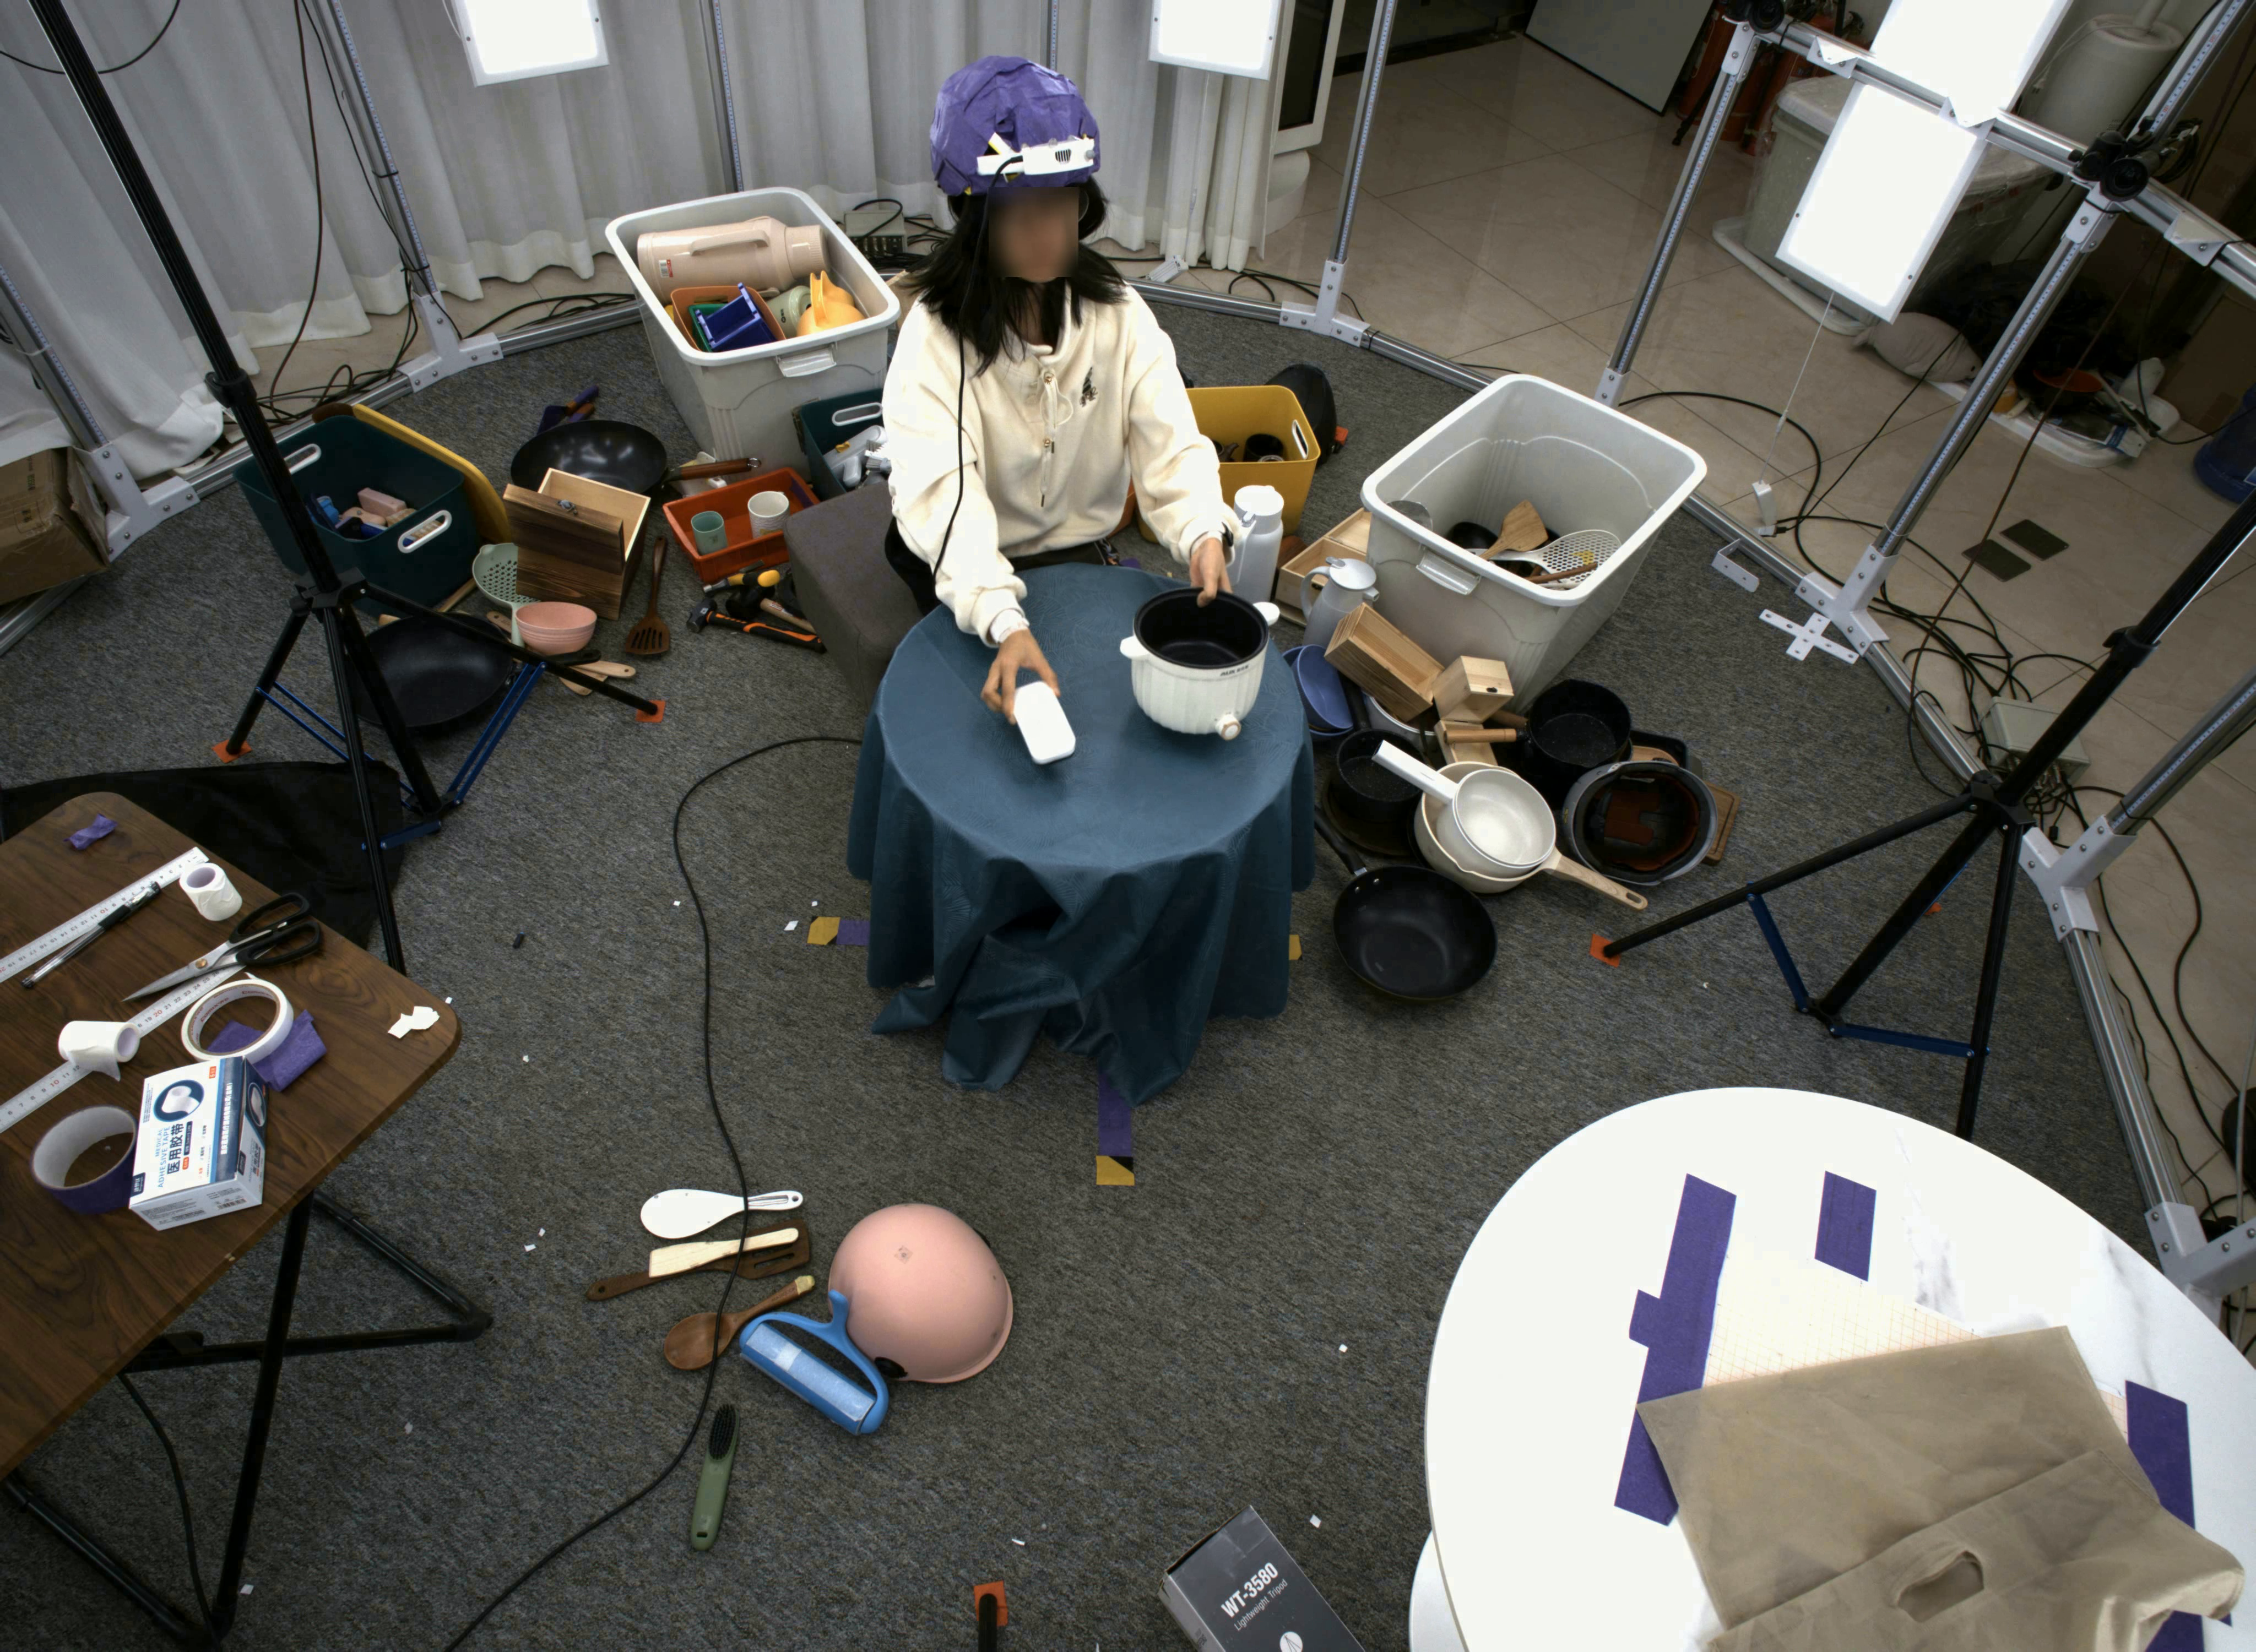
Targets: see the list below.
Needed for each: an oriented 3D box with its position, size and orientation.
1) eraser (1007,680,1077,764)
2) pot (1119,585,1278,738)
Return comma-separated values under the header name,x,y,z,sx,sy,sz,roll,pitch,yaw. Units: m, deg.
name,x,y,z,sx,sy,sz,roll,pitch,yaw
eraser,-0.114,-0.142,1.714,0.063,0.034,0.134,-18,54,-10
pot,0.098,-0.218,1.748,0.241,0.139,0.195,-19,44,-21
